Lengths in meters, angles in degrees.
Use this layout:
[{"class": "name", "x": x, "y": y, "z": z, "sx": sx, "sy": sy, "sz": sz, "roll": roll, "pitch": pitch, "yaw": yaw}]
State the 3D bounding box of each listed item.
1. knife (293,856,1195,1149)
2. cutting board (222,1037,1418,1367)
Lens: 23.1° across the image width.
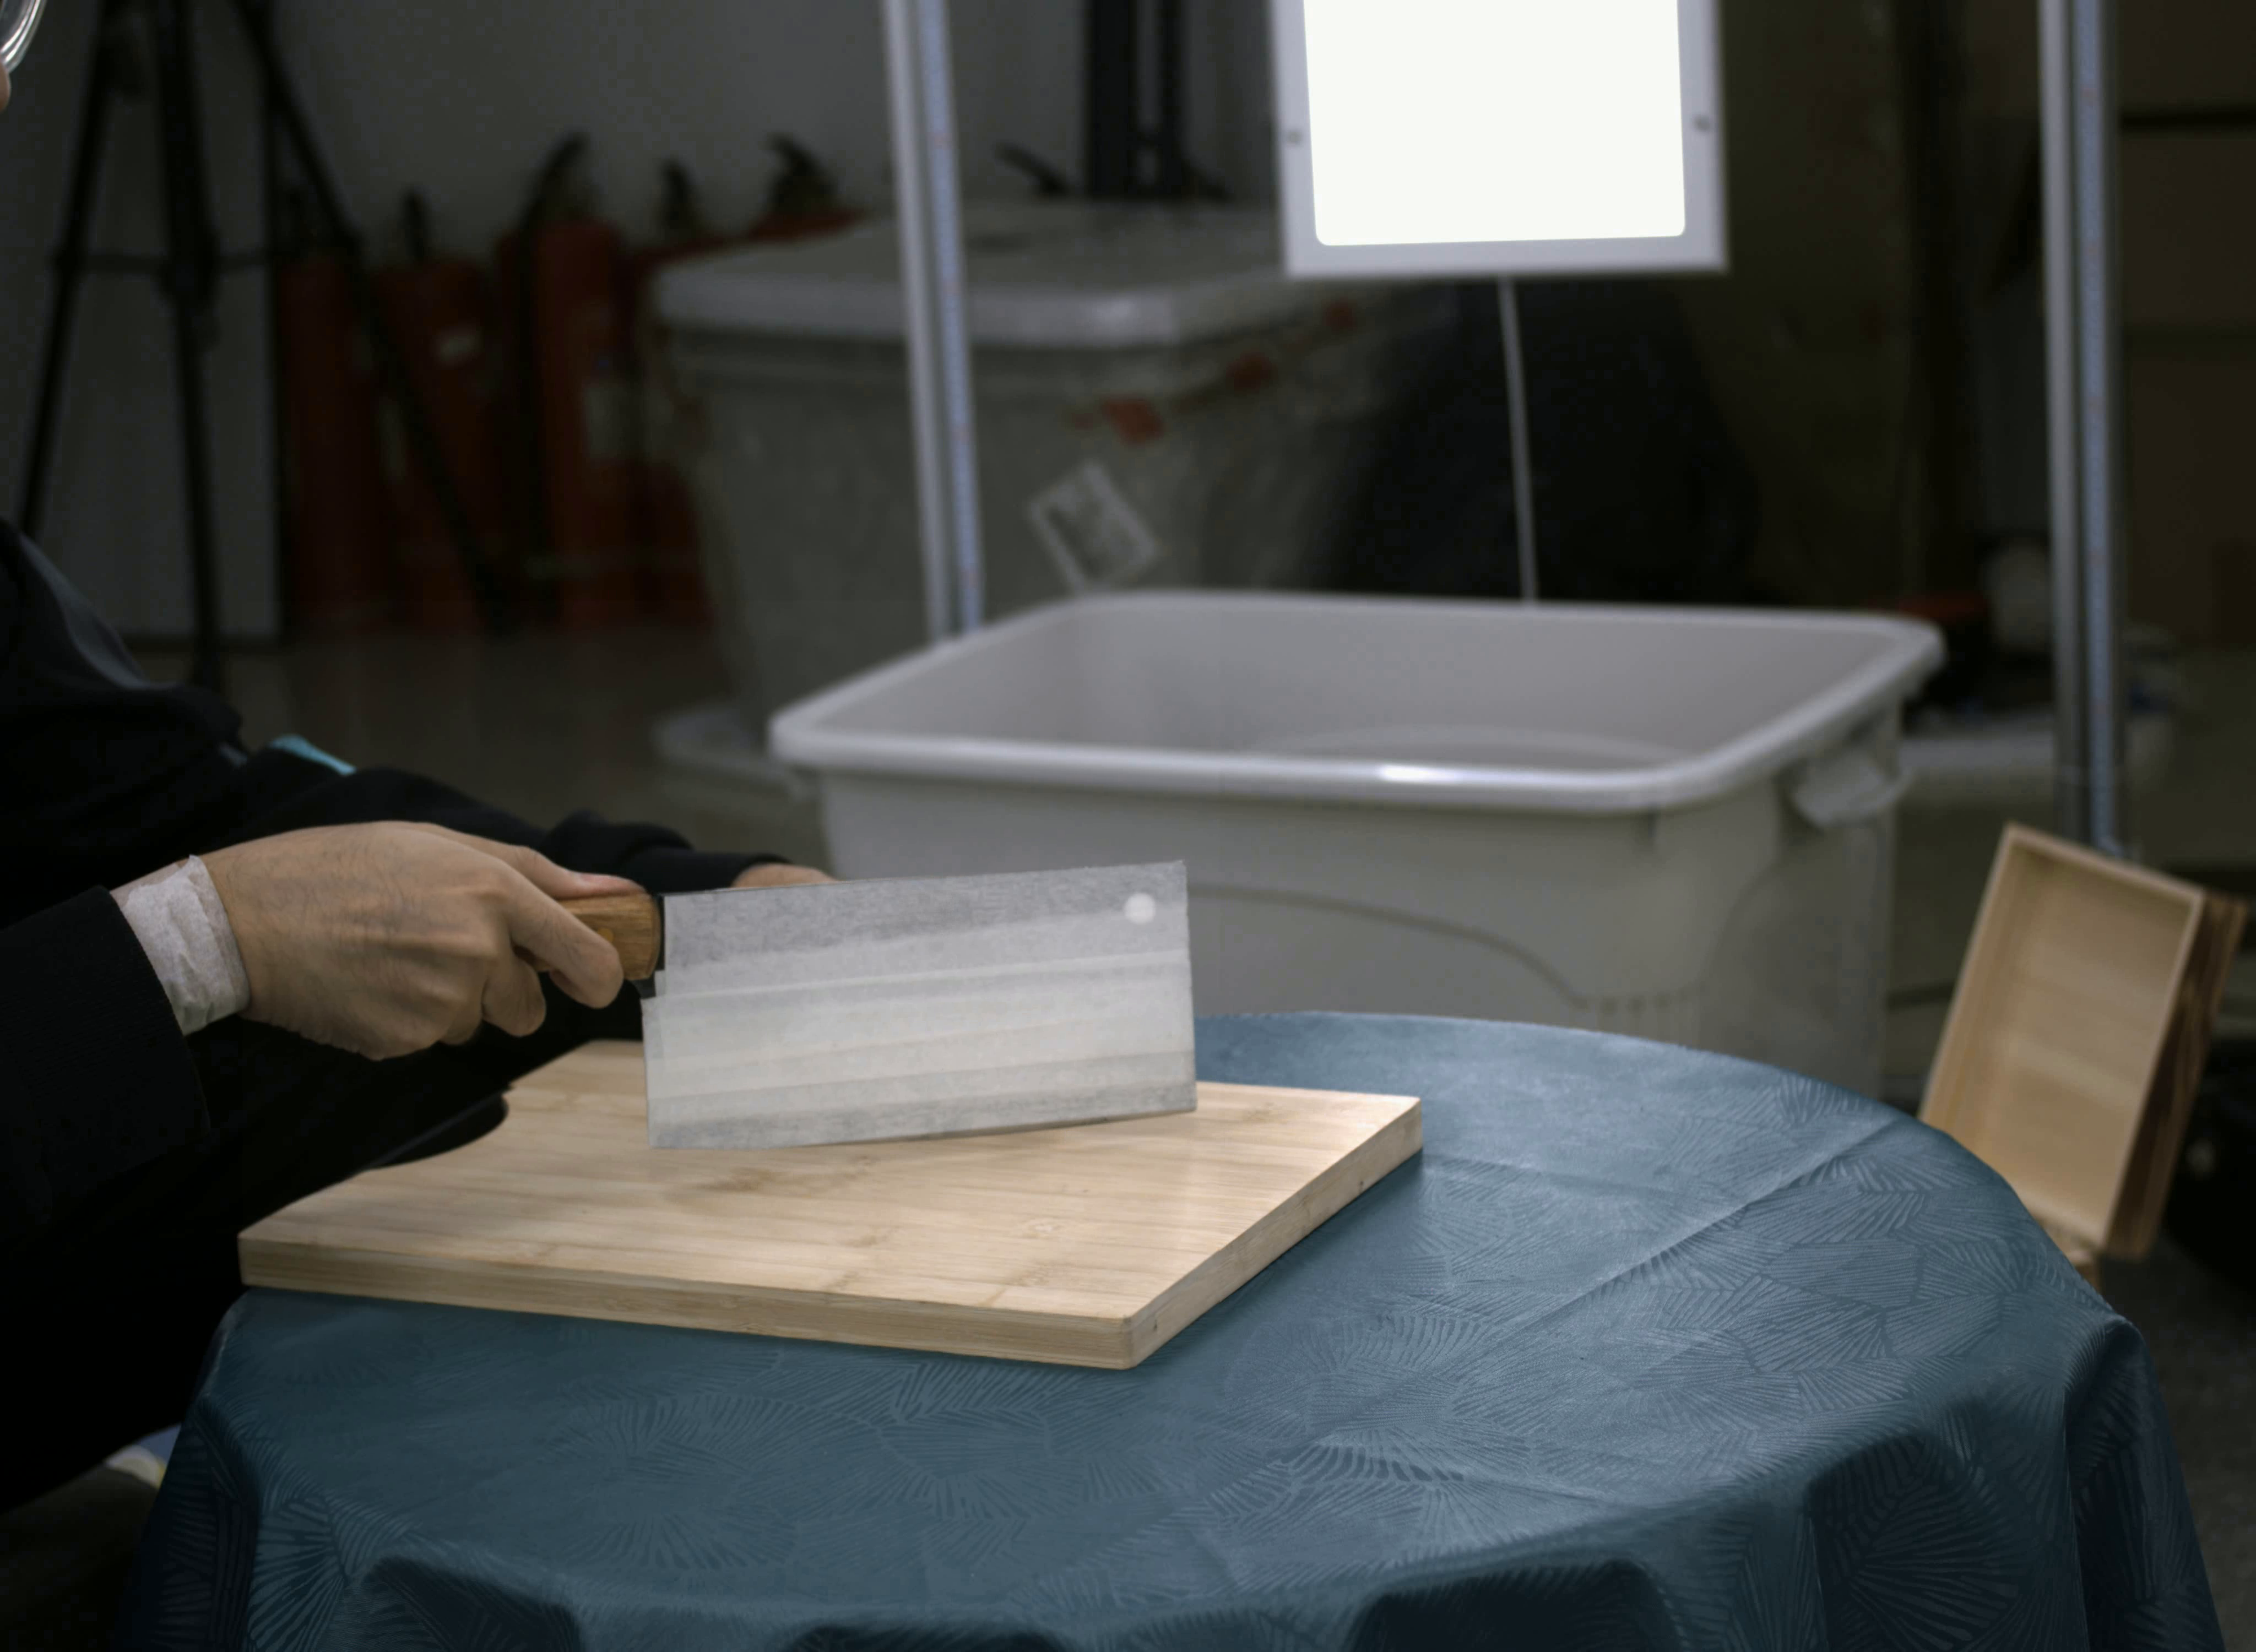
[{"class": "knife", "x": -0.129, "y": 0.064, "z": 1.880, "sx": 0.304, "sy": 0.093, "sz": 0.021, "roll": -4, "pitch": 11, "yaw": -2}, {"class": "cutting board", "x": -0.103, "y": 0.125, "z": 1.903, "sx": 0.354, "sy": 0.023, "sz": 0.245, "roll": 2, "pitch": 16, "yaw": 27}]
